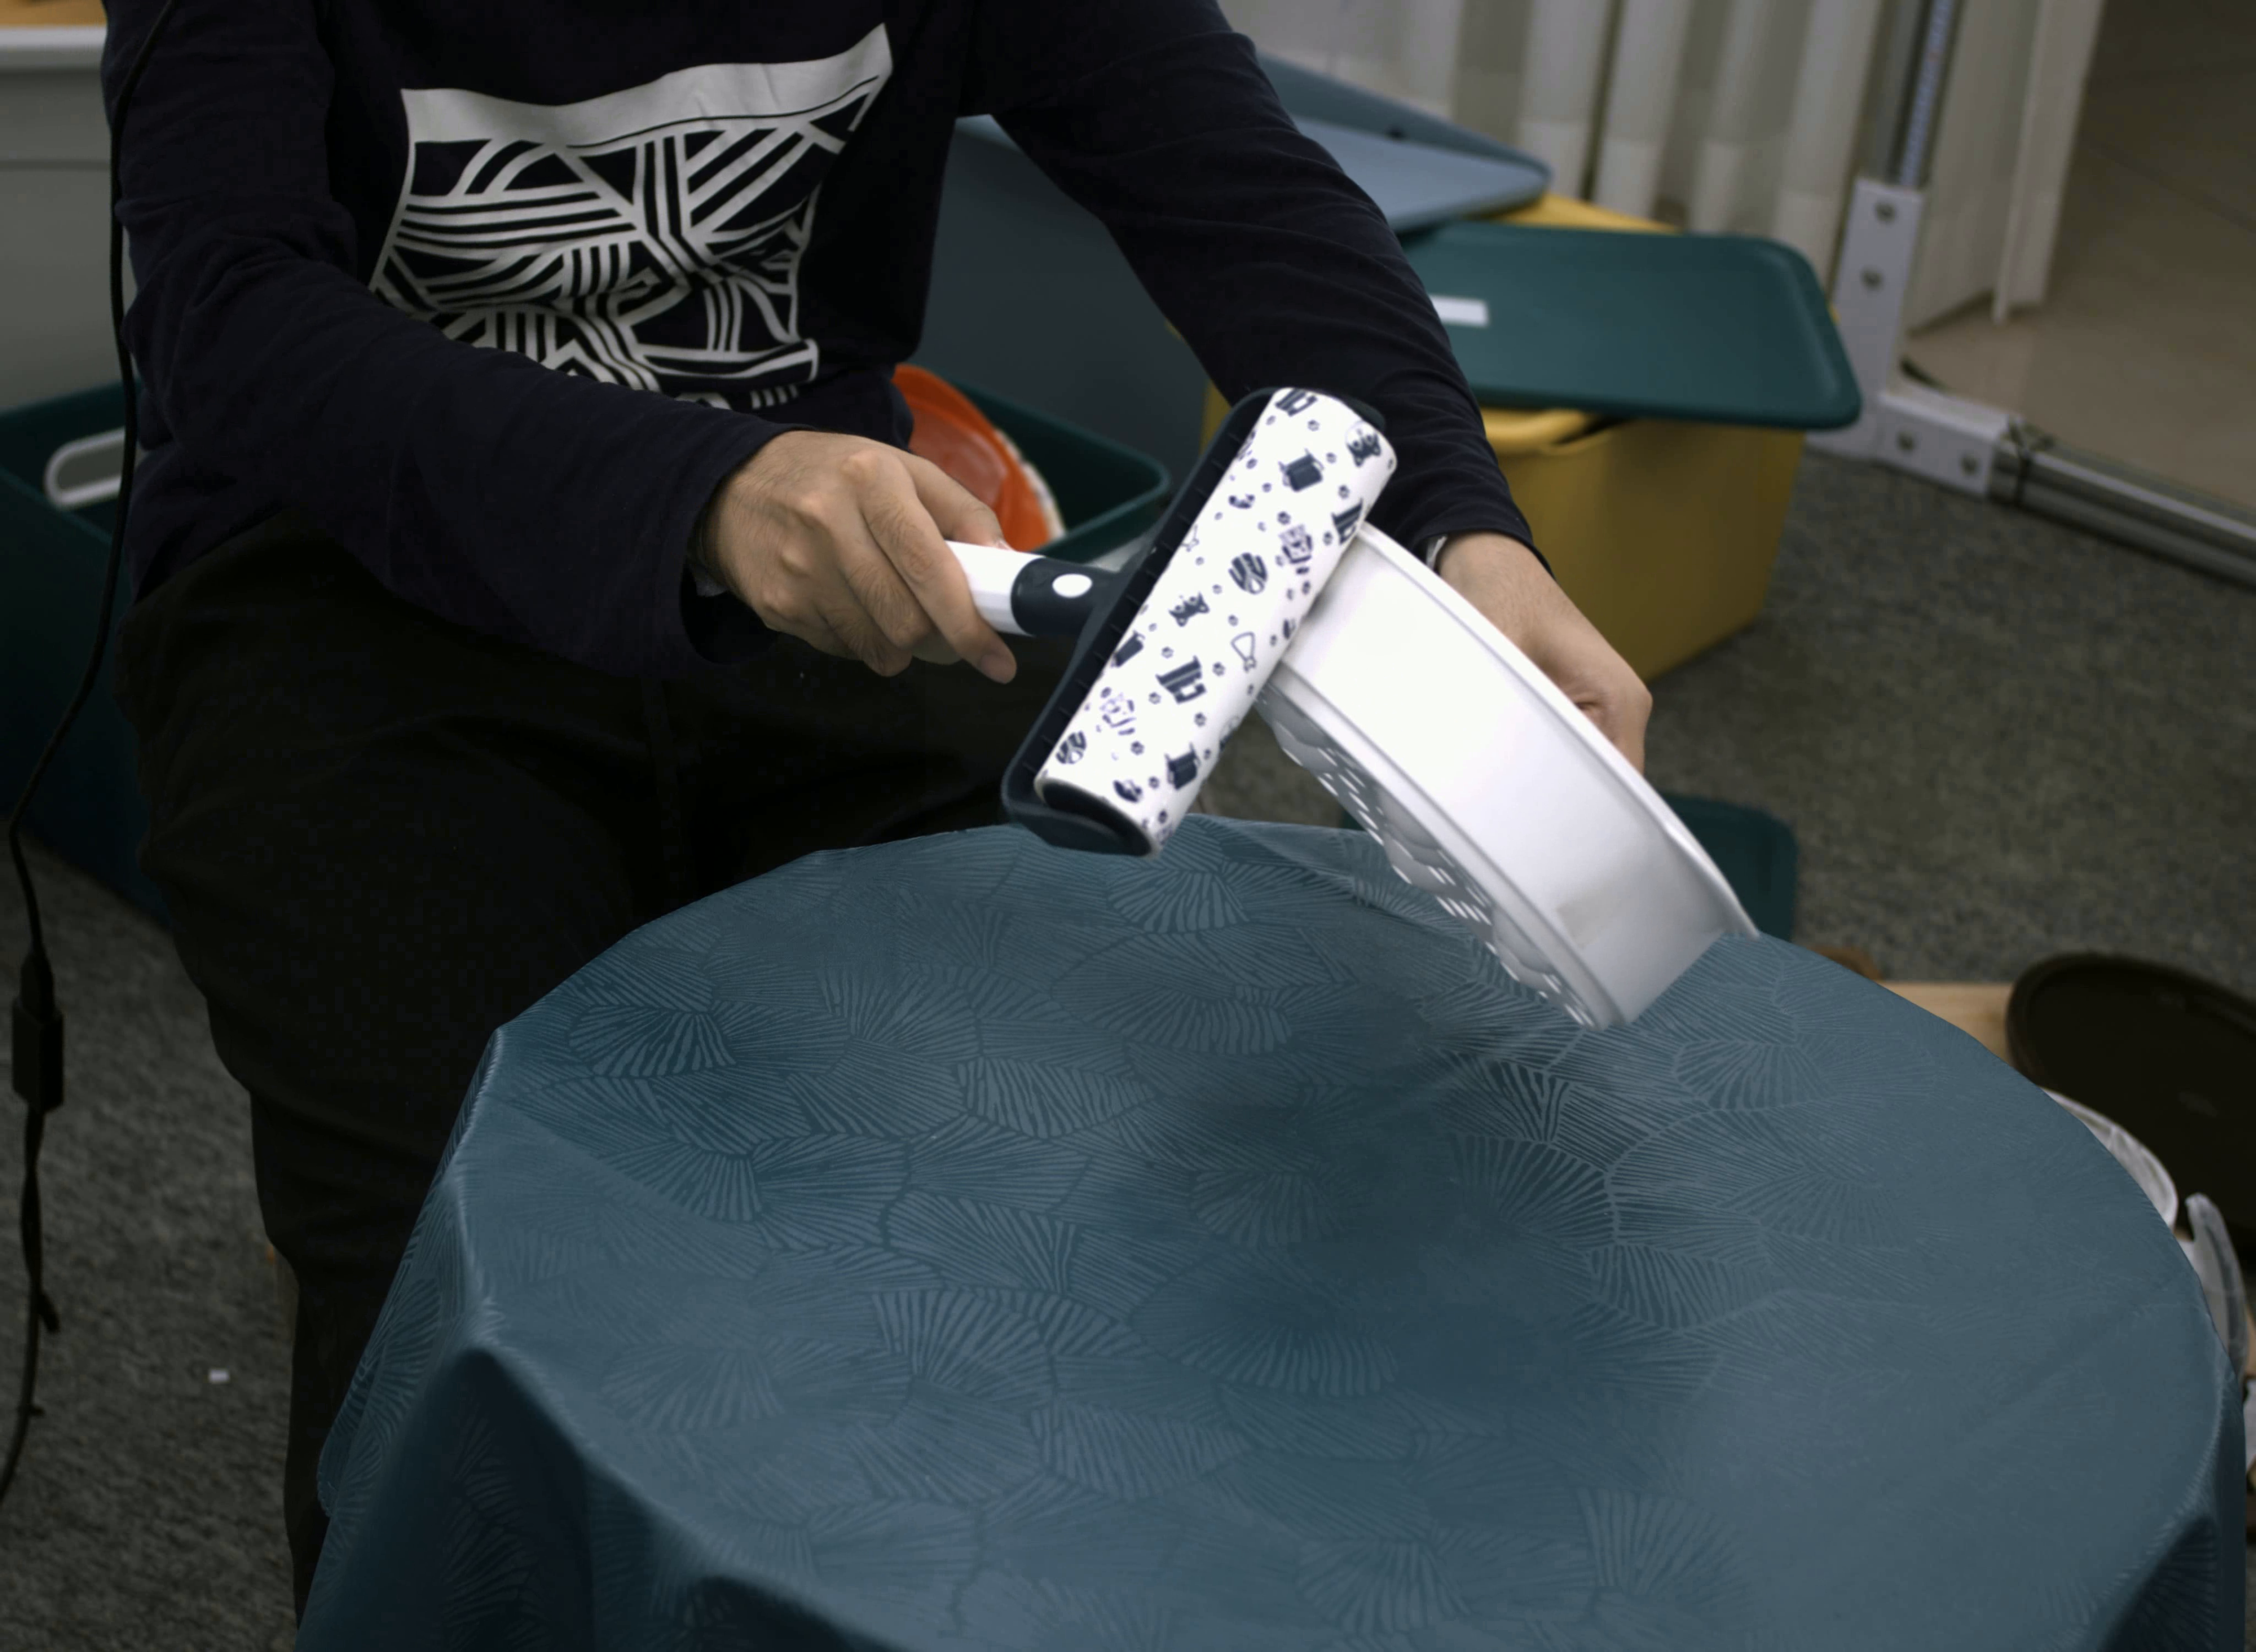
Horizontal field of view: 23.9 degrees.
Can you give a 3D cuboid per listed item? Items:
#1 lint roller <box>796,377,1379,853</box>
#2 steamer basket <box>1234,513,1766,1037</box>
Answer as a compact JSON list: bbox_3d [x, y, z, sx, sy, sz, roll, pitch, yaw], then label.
[{"bbox_3d":[-0.040,-0.081,1.822,0.248,0.050,0.177,10,63,48],"label":"lint roller"},{"bbox_3d":[0.118,-0.014,1.810,0.069,0.200,0.232,-45,51,-2],"label":"steamer basket"}]
